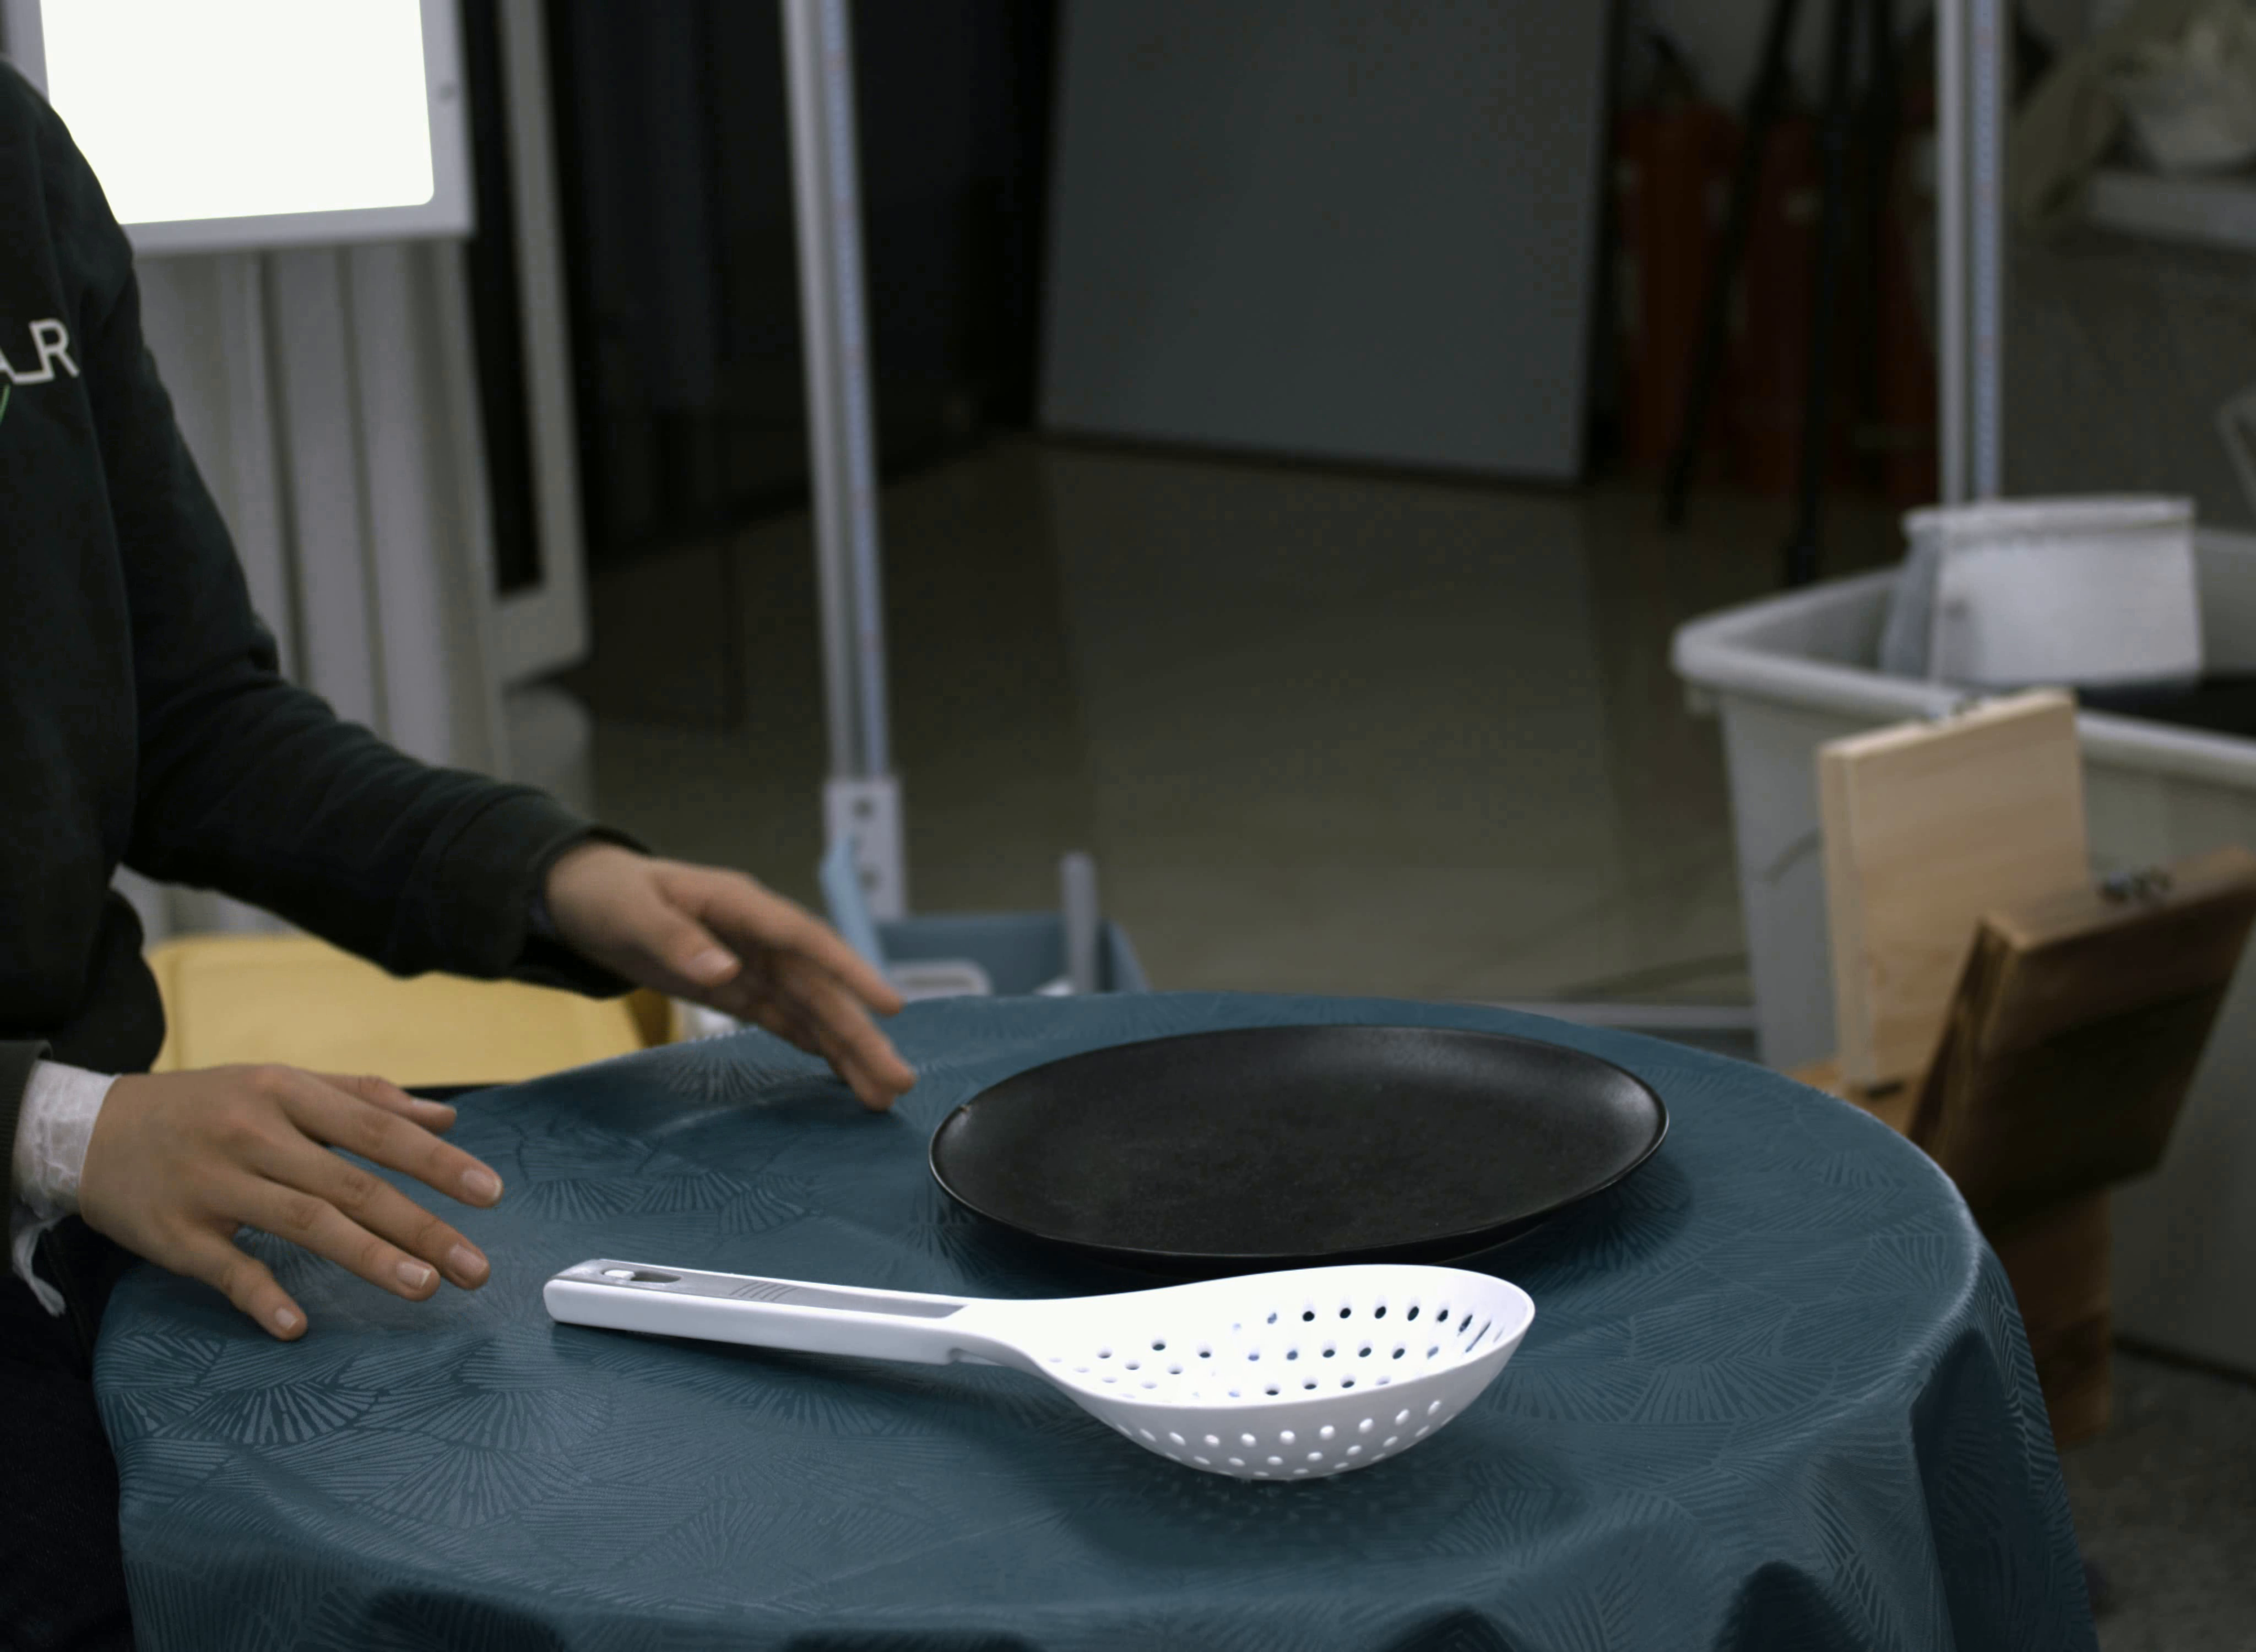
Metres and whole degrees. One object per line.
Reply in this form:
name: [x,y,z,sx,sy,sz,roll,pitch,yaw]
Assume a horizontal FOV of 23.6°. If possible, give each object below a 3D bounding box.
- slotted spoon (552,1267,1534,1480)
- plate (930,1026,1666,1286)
slotted spoon: [-0.036,0.148,1.577,0.352,0.046,0.133,6,15,38]
plate: [0.056,0.109,1.754,0.241,0.024,0.245,-4,14,0]
